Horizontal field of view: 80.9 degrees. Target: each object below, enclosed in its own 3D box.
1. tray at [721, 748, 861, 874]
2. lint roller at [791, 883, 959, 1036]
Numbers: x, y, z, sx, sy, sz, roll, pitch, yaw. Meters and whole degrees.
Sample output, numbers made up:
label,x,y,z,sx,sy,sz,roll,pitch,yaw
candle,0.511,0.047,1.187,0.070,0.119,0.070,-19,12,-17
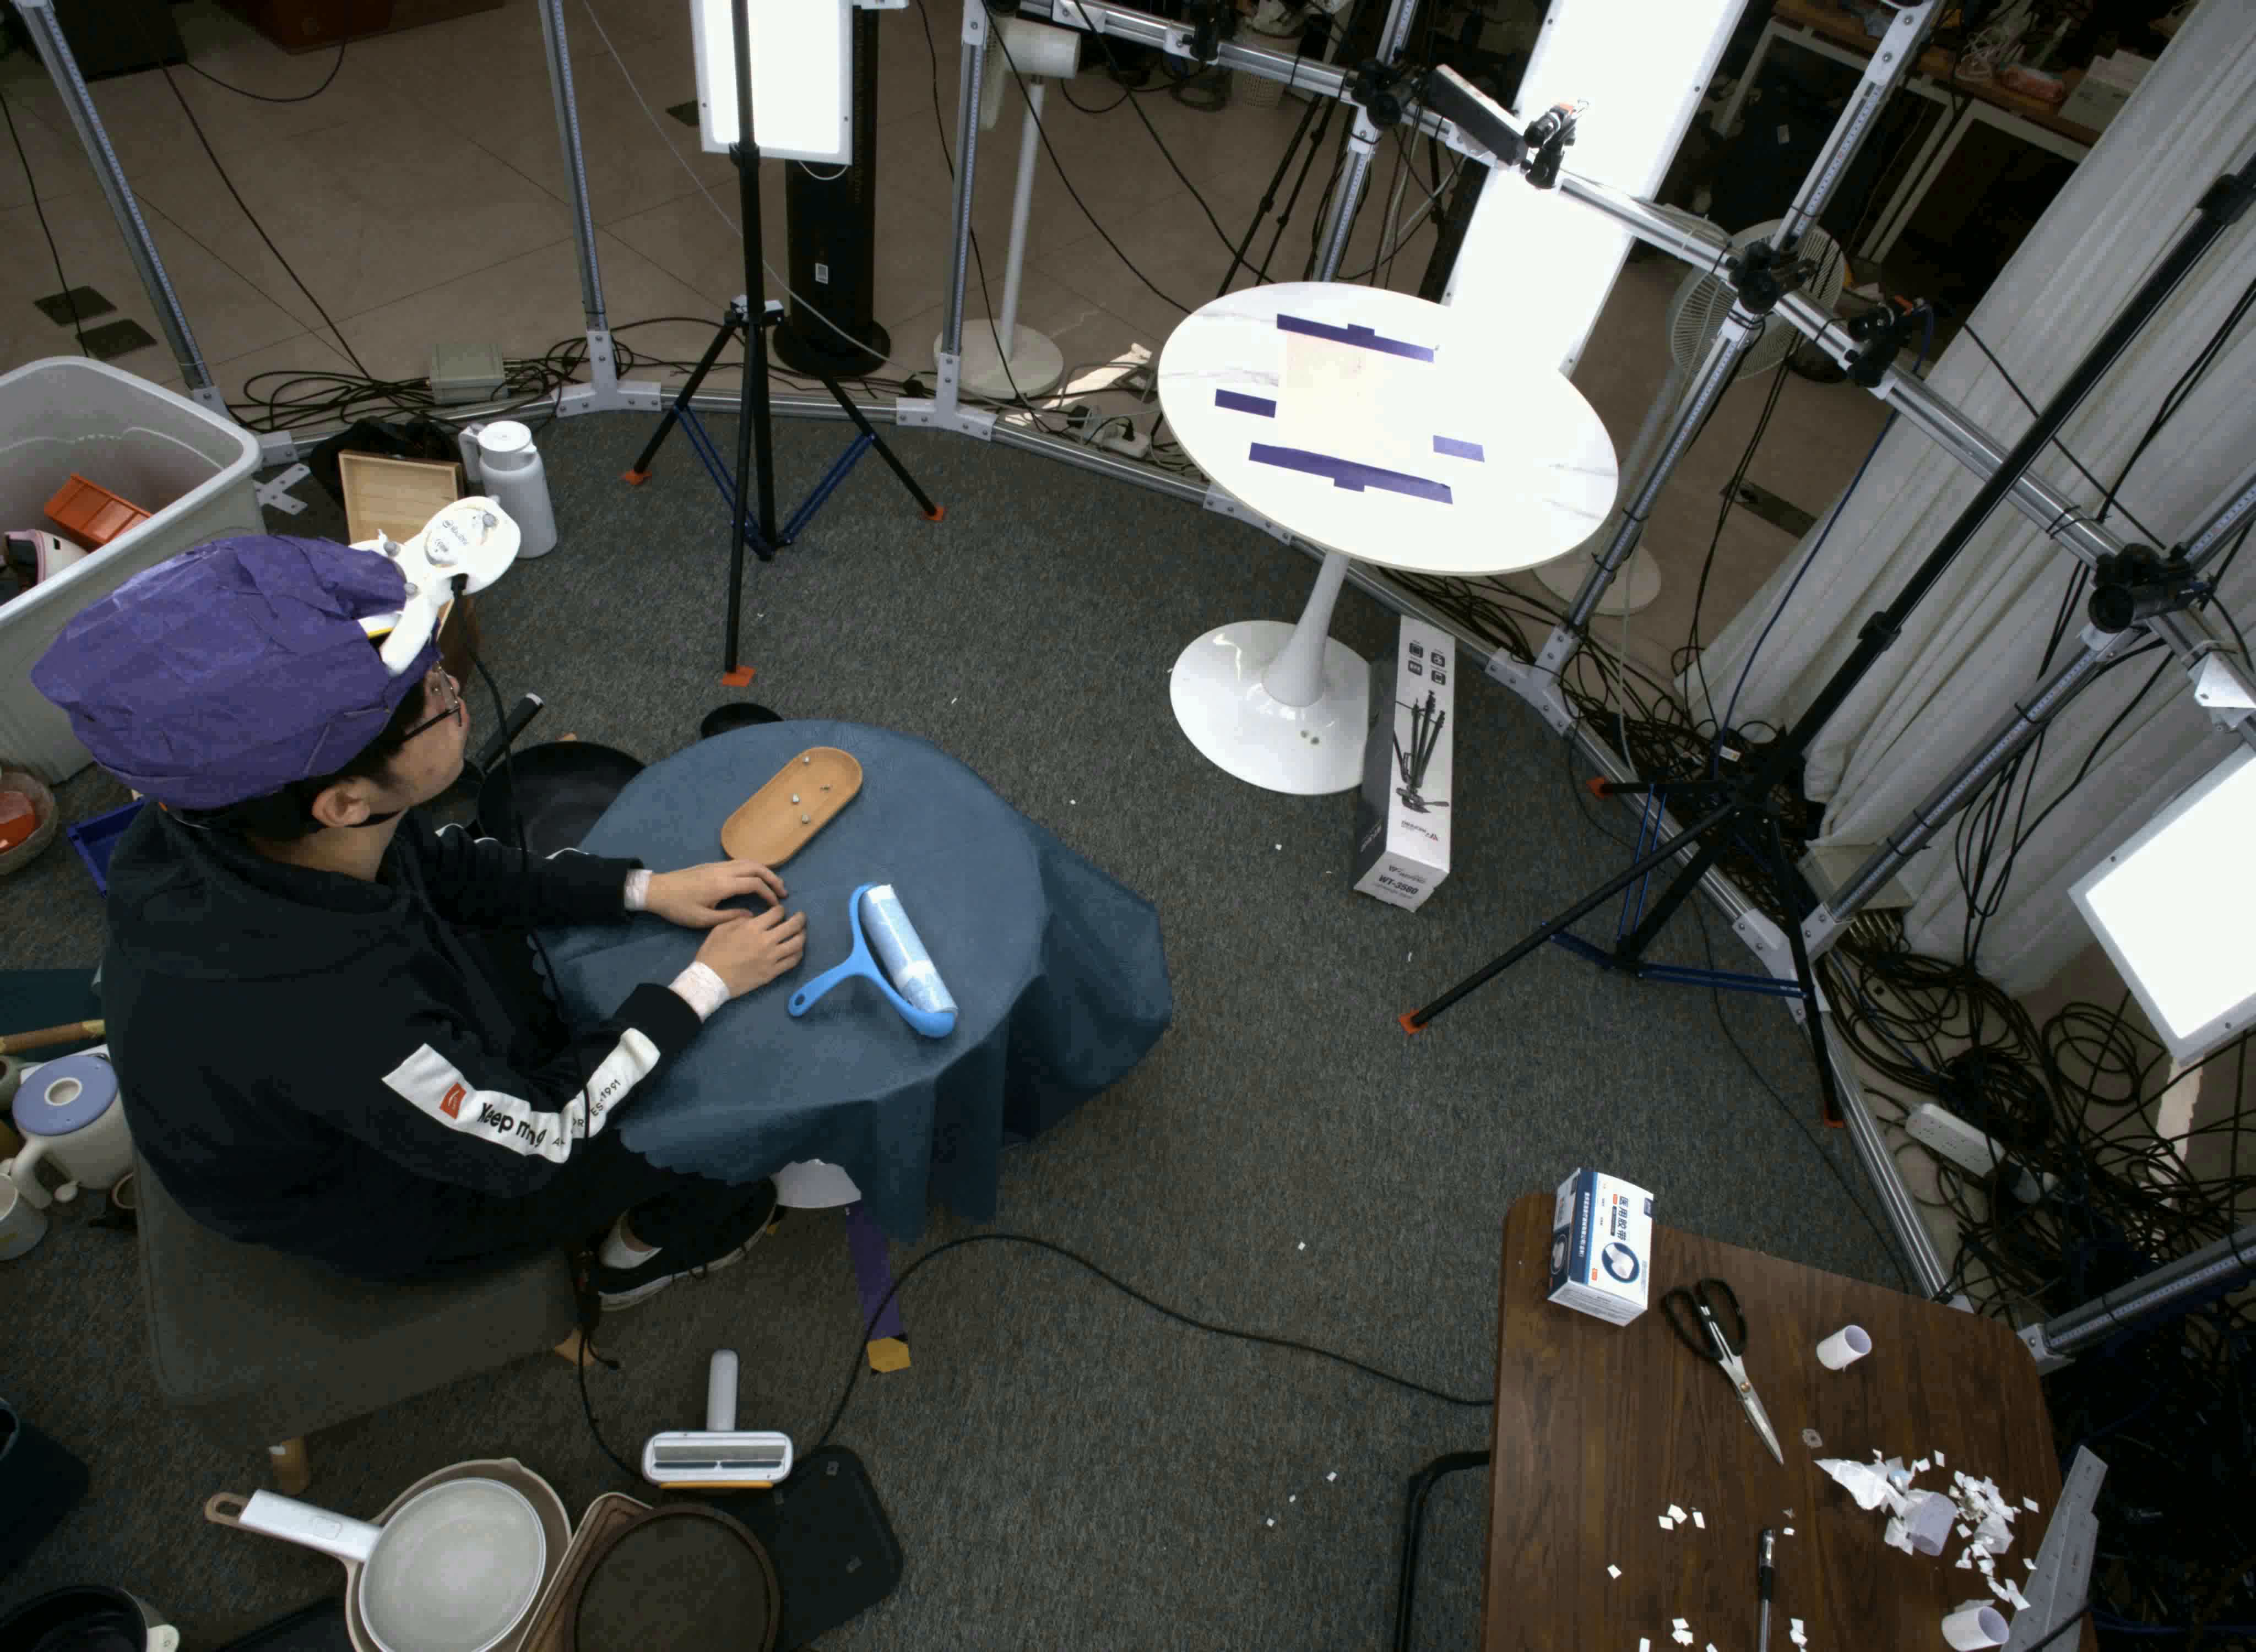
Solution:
label,x,y,z,sx,sy,sz,roll,pitch,yaw
tray,-0.448,-0.023,1.730,0.100,0.021,0.230,30,54,9
lint roller,-0.324,0.180,1.586,0.181,0.069,0.224,-22,64,-29
